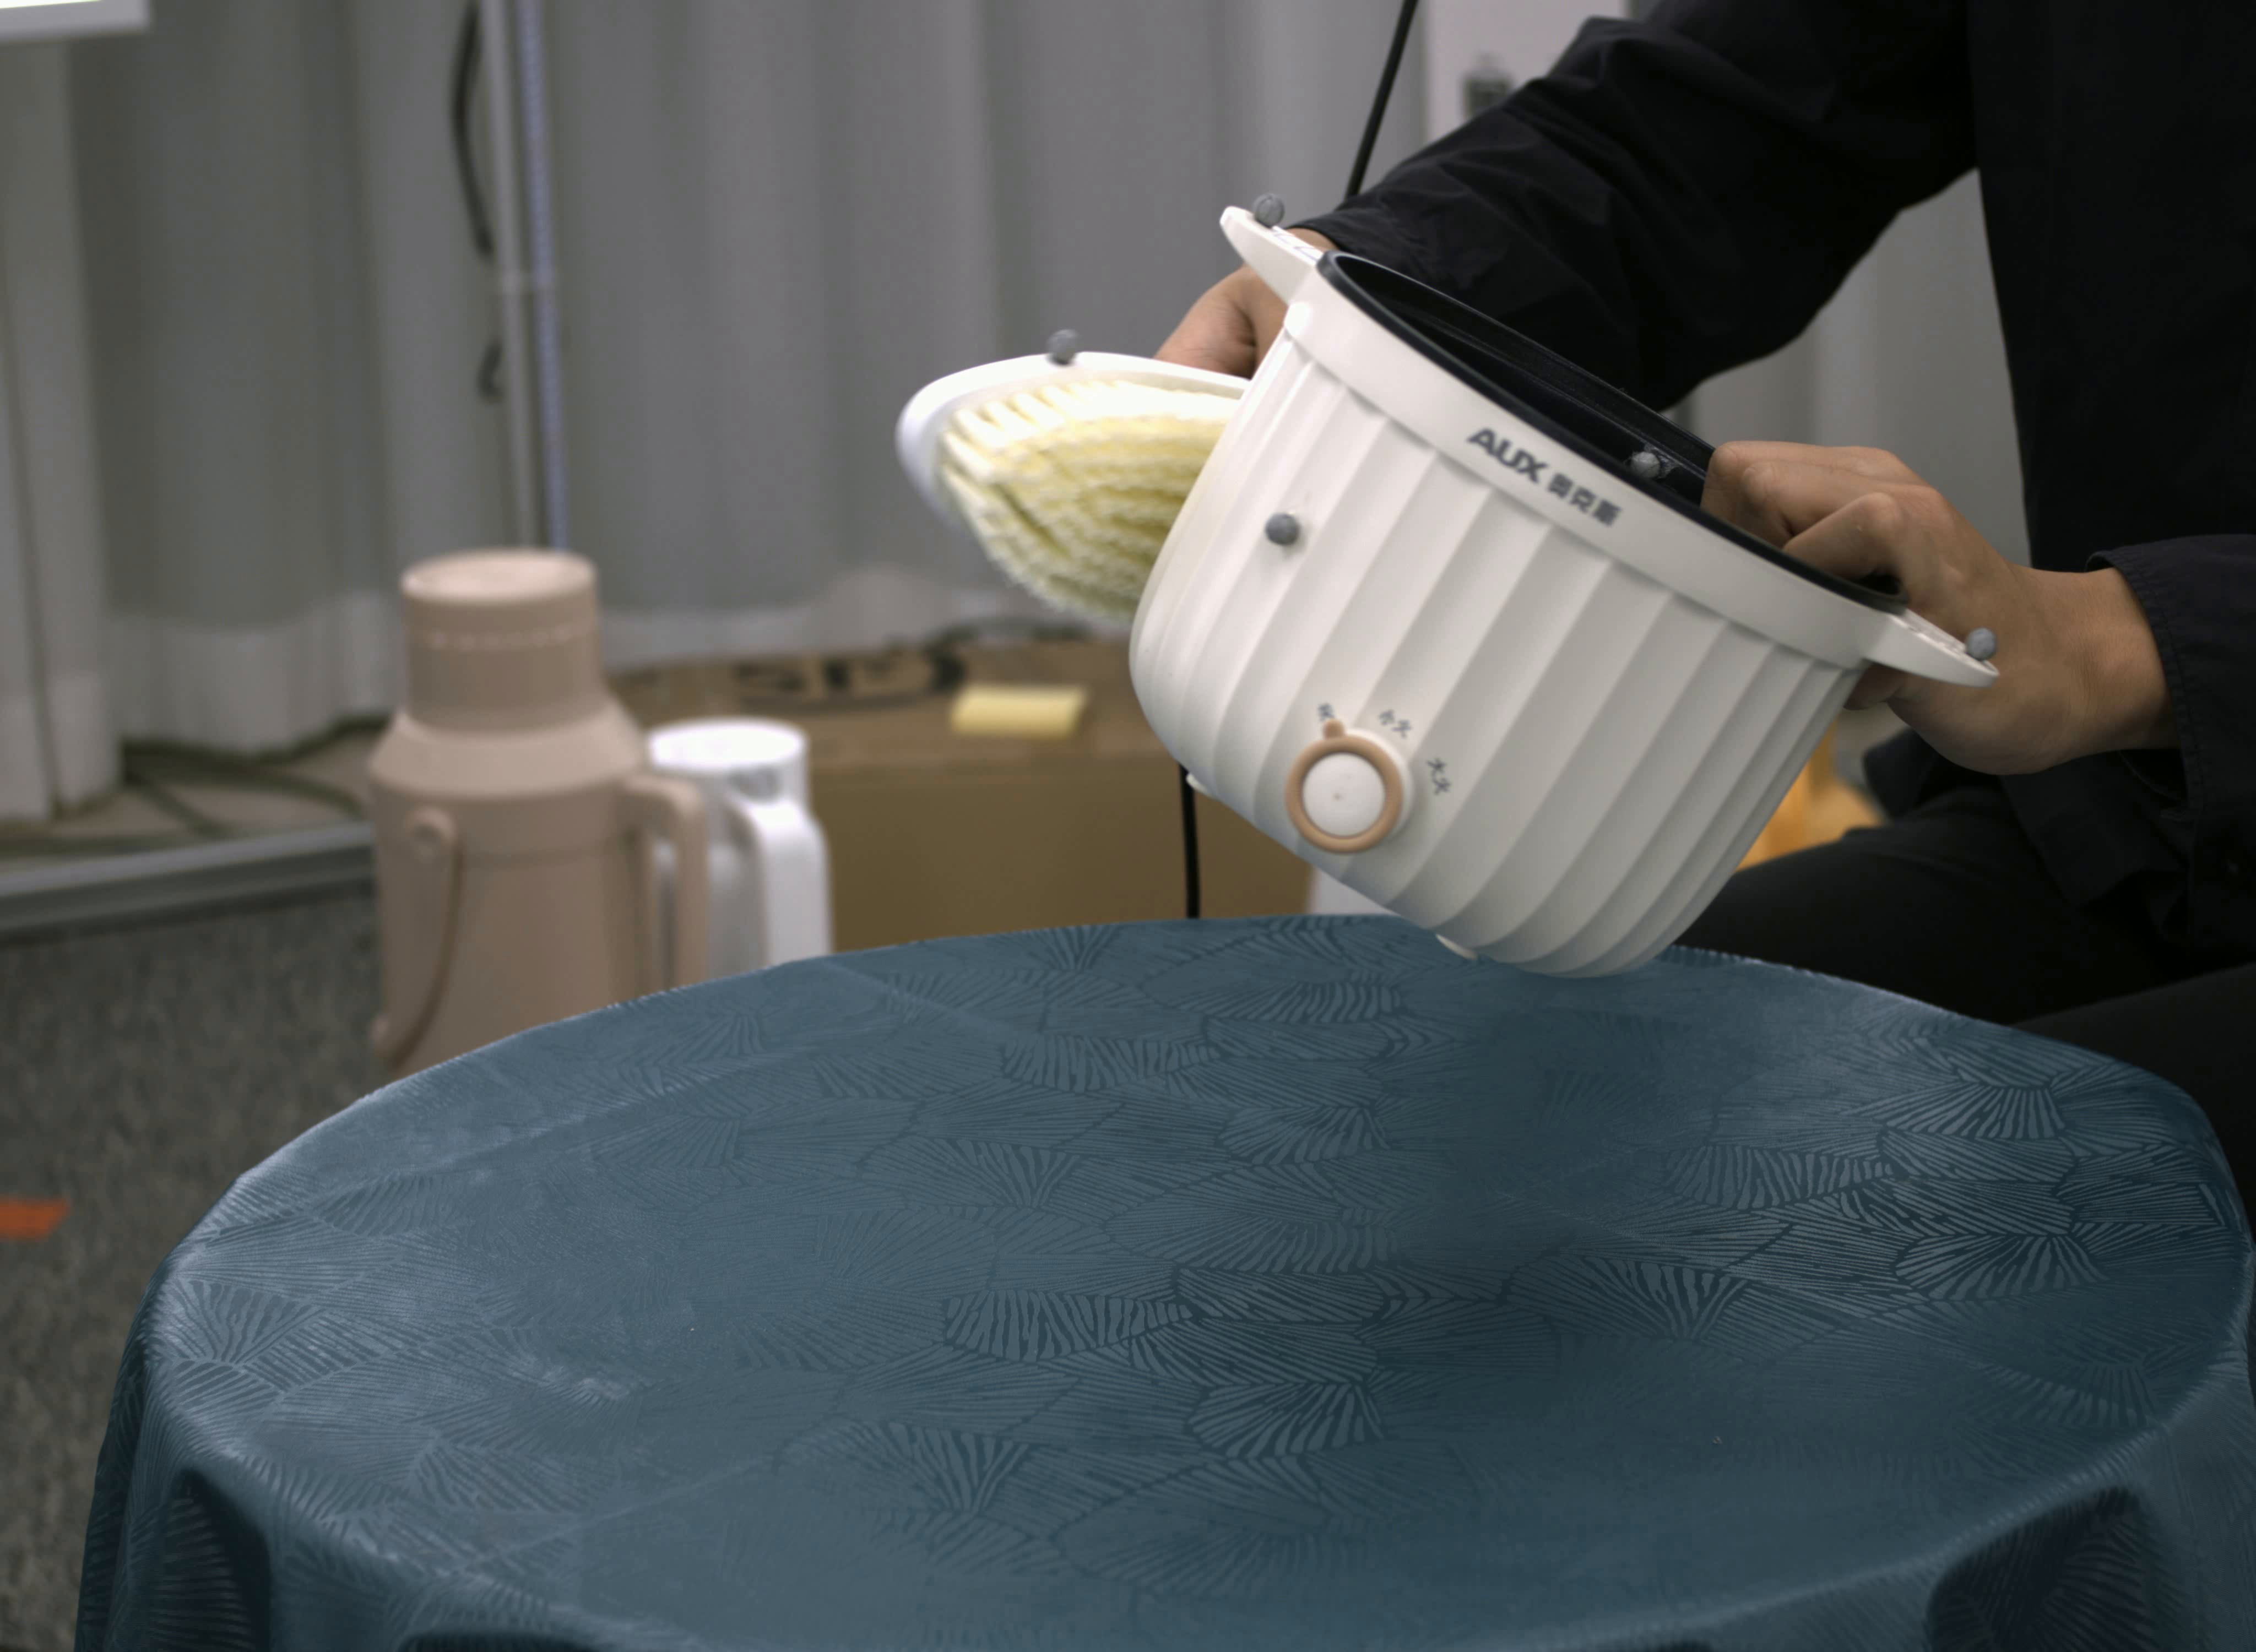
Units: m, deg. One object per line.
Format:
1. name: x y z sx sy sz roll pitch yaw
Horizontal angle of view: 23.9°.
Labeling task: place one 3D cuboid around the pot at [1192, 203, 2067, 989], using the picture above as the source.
1. pot: 0.112 -0.046 1.398 0.242 0.143 0.188 31 9 9

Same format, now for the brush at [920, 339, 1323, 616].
1. brush: 0.054 -0.101 1.544 0.084 0.085 0.318 -30 -14 27
